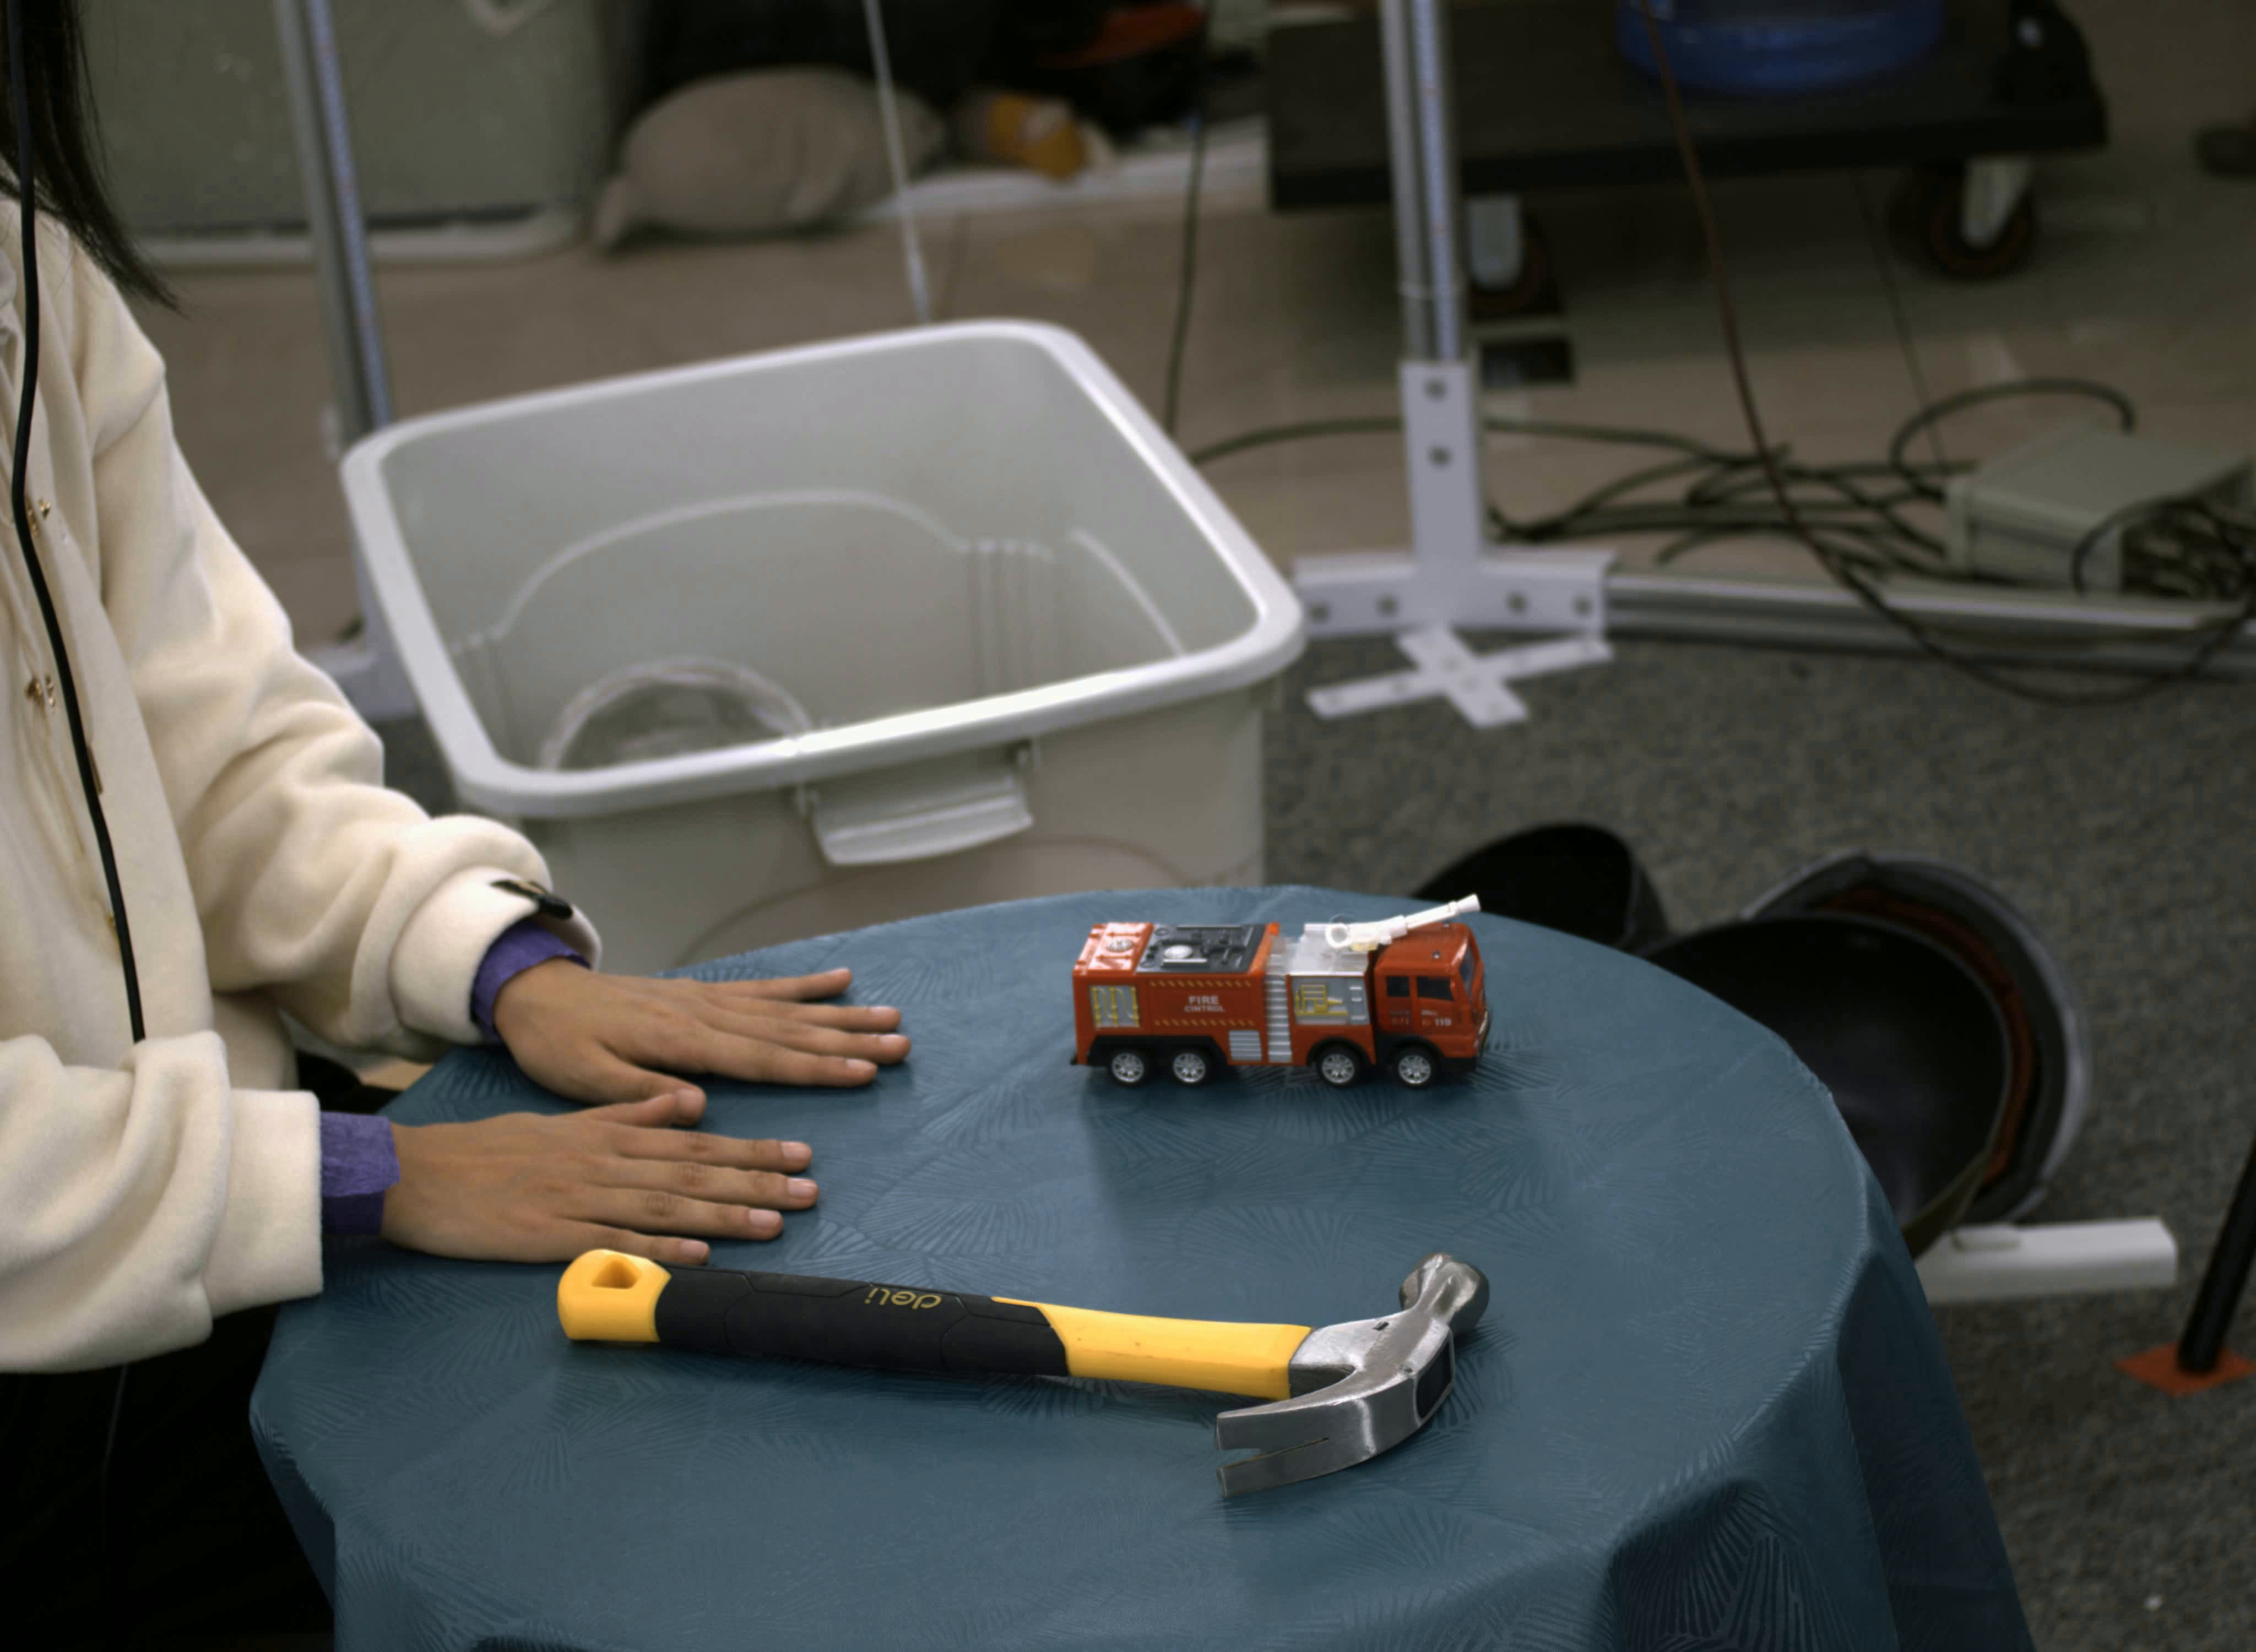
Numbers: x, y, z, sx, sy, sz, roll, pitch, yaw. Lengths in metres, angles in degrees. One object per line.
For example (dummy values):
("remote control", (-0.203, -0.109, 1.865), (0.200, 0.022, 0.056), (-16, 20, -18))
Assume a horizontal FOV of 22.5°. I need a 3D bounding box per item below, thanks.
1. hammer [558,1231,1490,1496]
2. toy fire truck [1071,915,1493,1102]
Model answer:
("hammer", (-0.049, 0.178, 2.031), (0.337, 0.033, 0.129), (5, 28, 21))
("toy fire truck", (0.061, 0.068, 2.215), (0.167, 0.071, 0.053), (-2, 26, 13))
